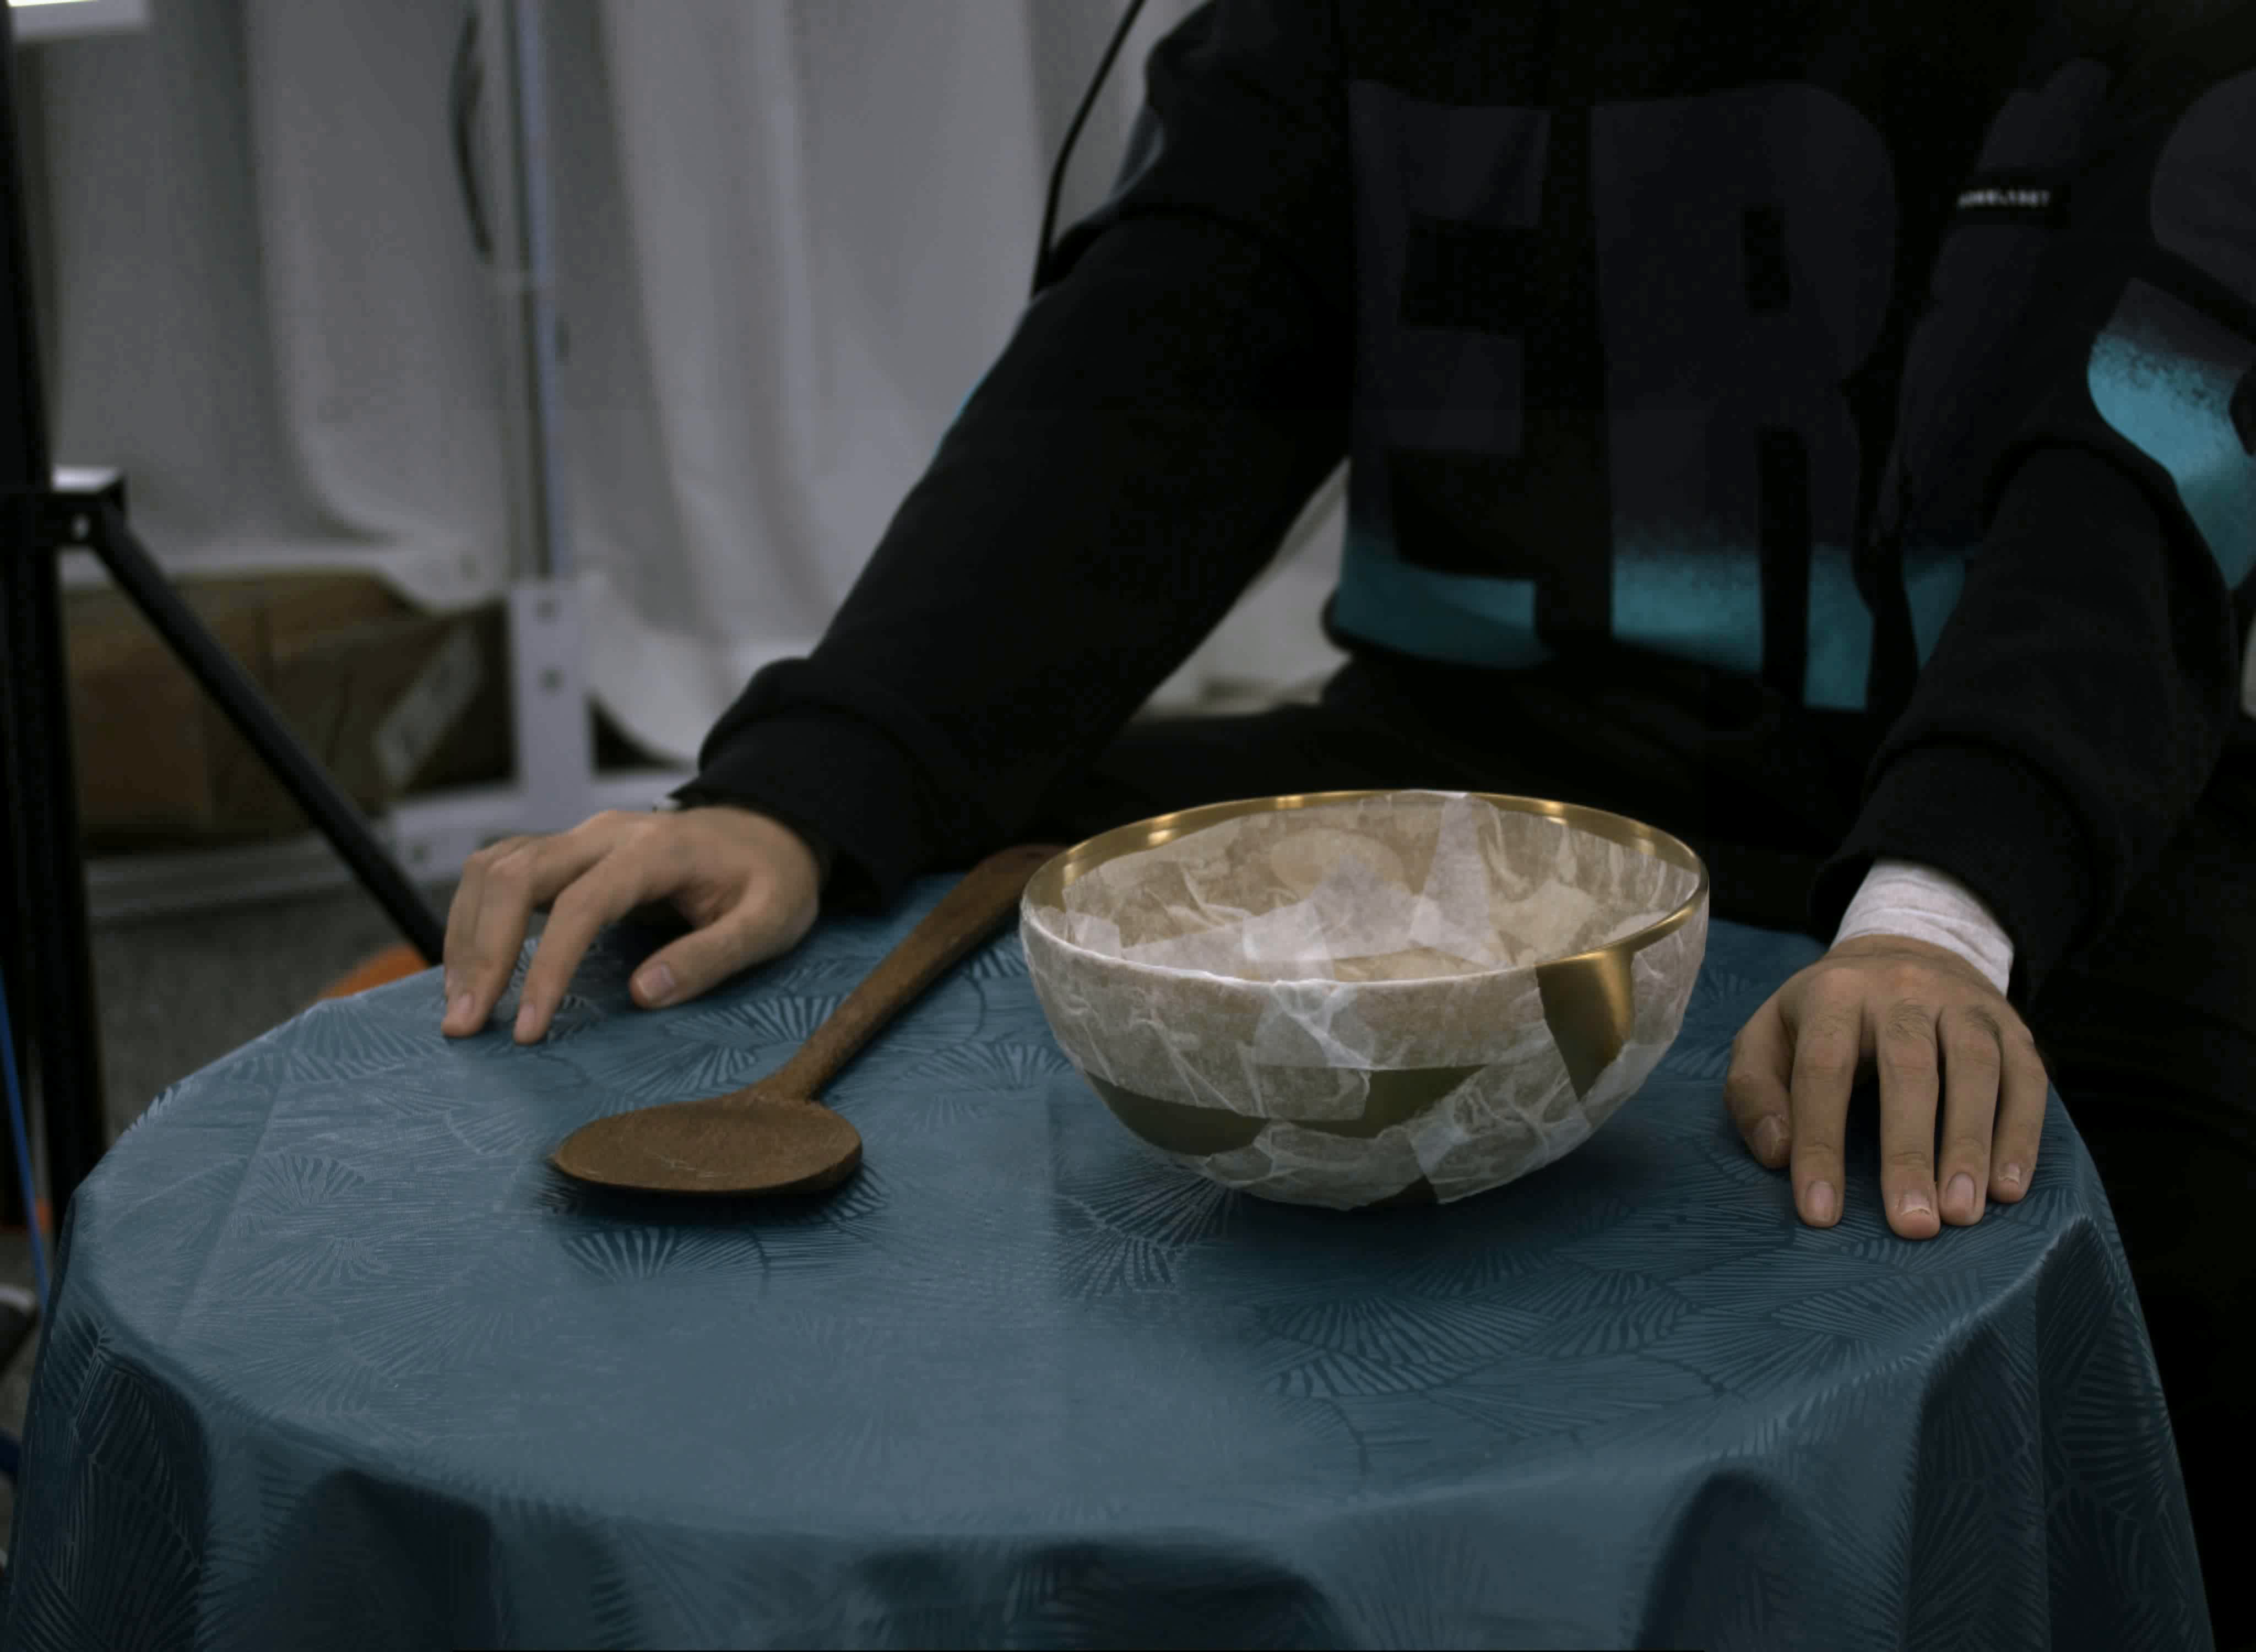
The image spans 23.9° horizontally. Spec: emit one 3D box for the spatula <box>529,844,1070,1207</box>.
[{"bbox_3d":[-0.084,0.059,1.722,0.097,0.016,0.382,3,16,17],"label":"spatula"}]

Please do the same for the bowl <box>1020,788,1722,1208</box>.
[{"bbox_3d":[0.074,0.057,1.552,0.213,0.094,0.216,-4,14,-1],"label":"bowl"}]
